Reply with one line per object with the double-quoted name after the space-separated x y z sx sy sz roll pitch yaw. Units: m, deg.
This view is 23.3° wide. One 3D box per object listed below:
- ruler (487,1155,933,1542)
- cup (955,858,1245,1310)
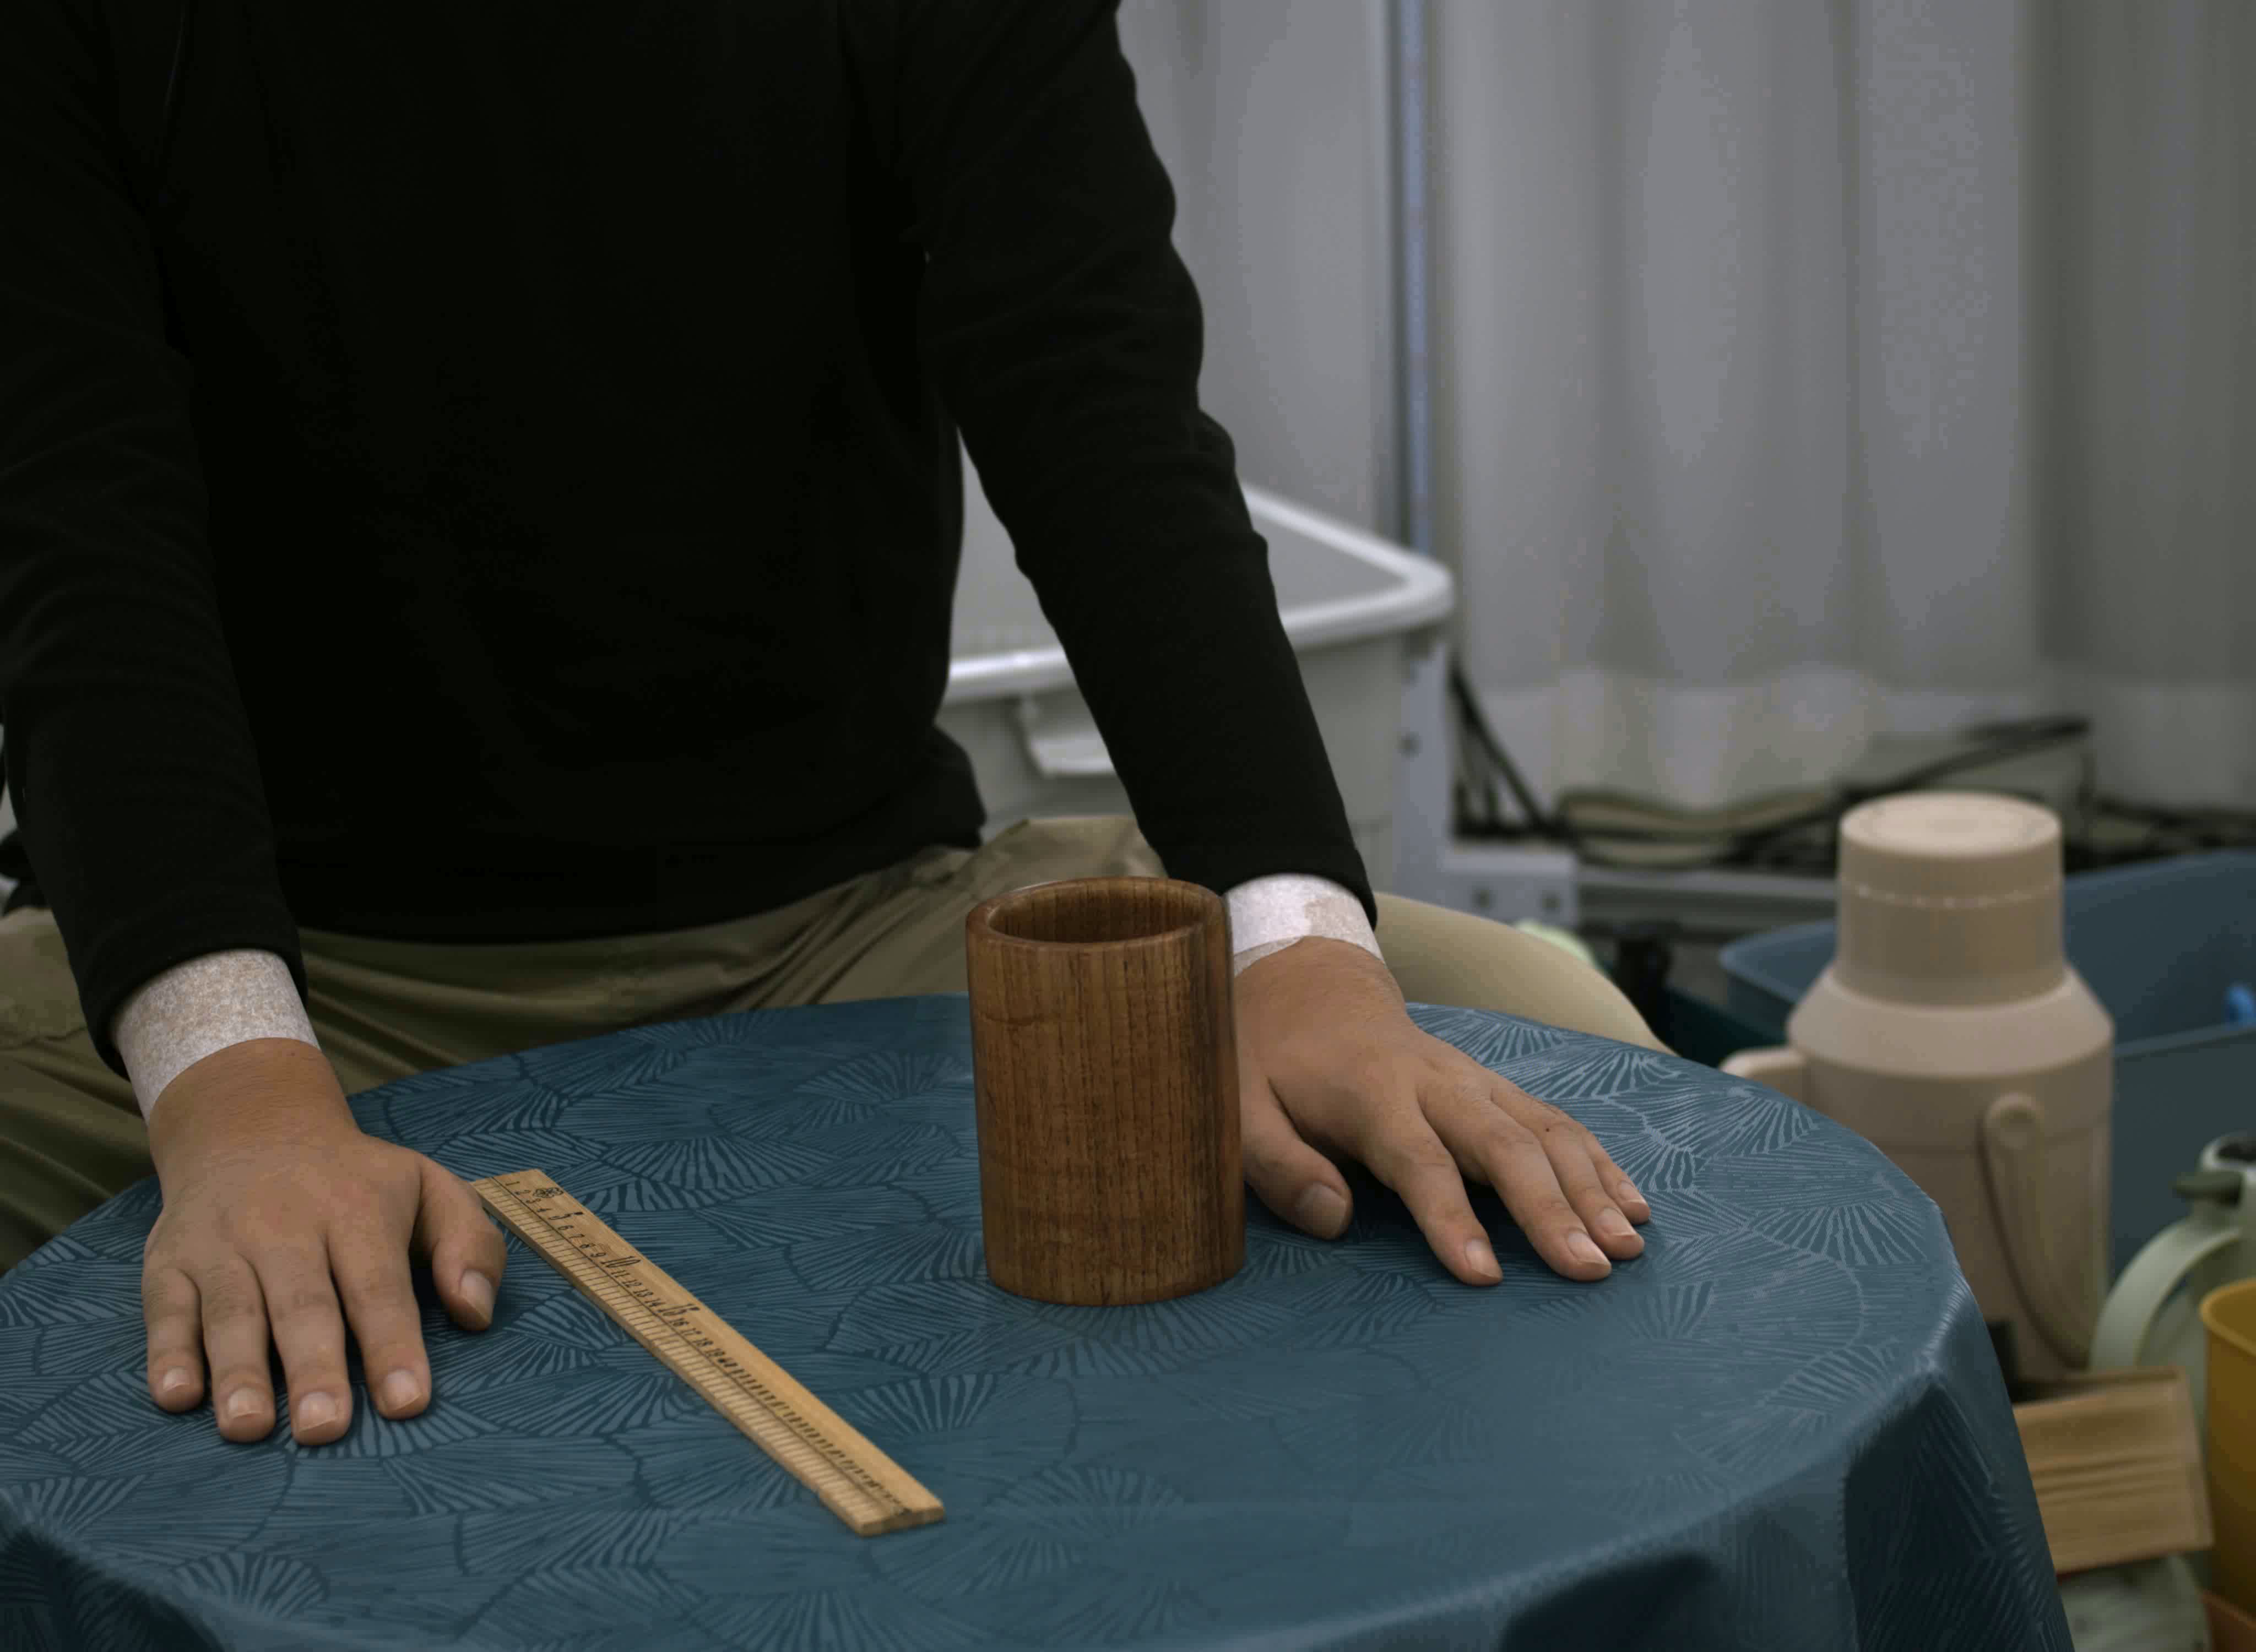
-0.129 0.146 1.601 0.027 0.022 0.334 -4 15 -23 "ruler"
-0.007 0.076 1.635 0.087 0.118 0.088 -2 13 0 "cup"
